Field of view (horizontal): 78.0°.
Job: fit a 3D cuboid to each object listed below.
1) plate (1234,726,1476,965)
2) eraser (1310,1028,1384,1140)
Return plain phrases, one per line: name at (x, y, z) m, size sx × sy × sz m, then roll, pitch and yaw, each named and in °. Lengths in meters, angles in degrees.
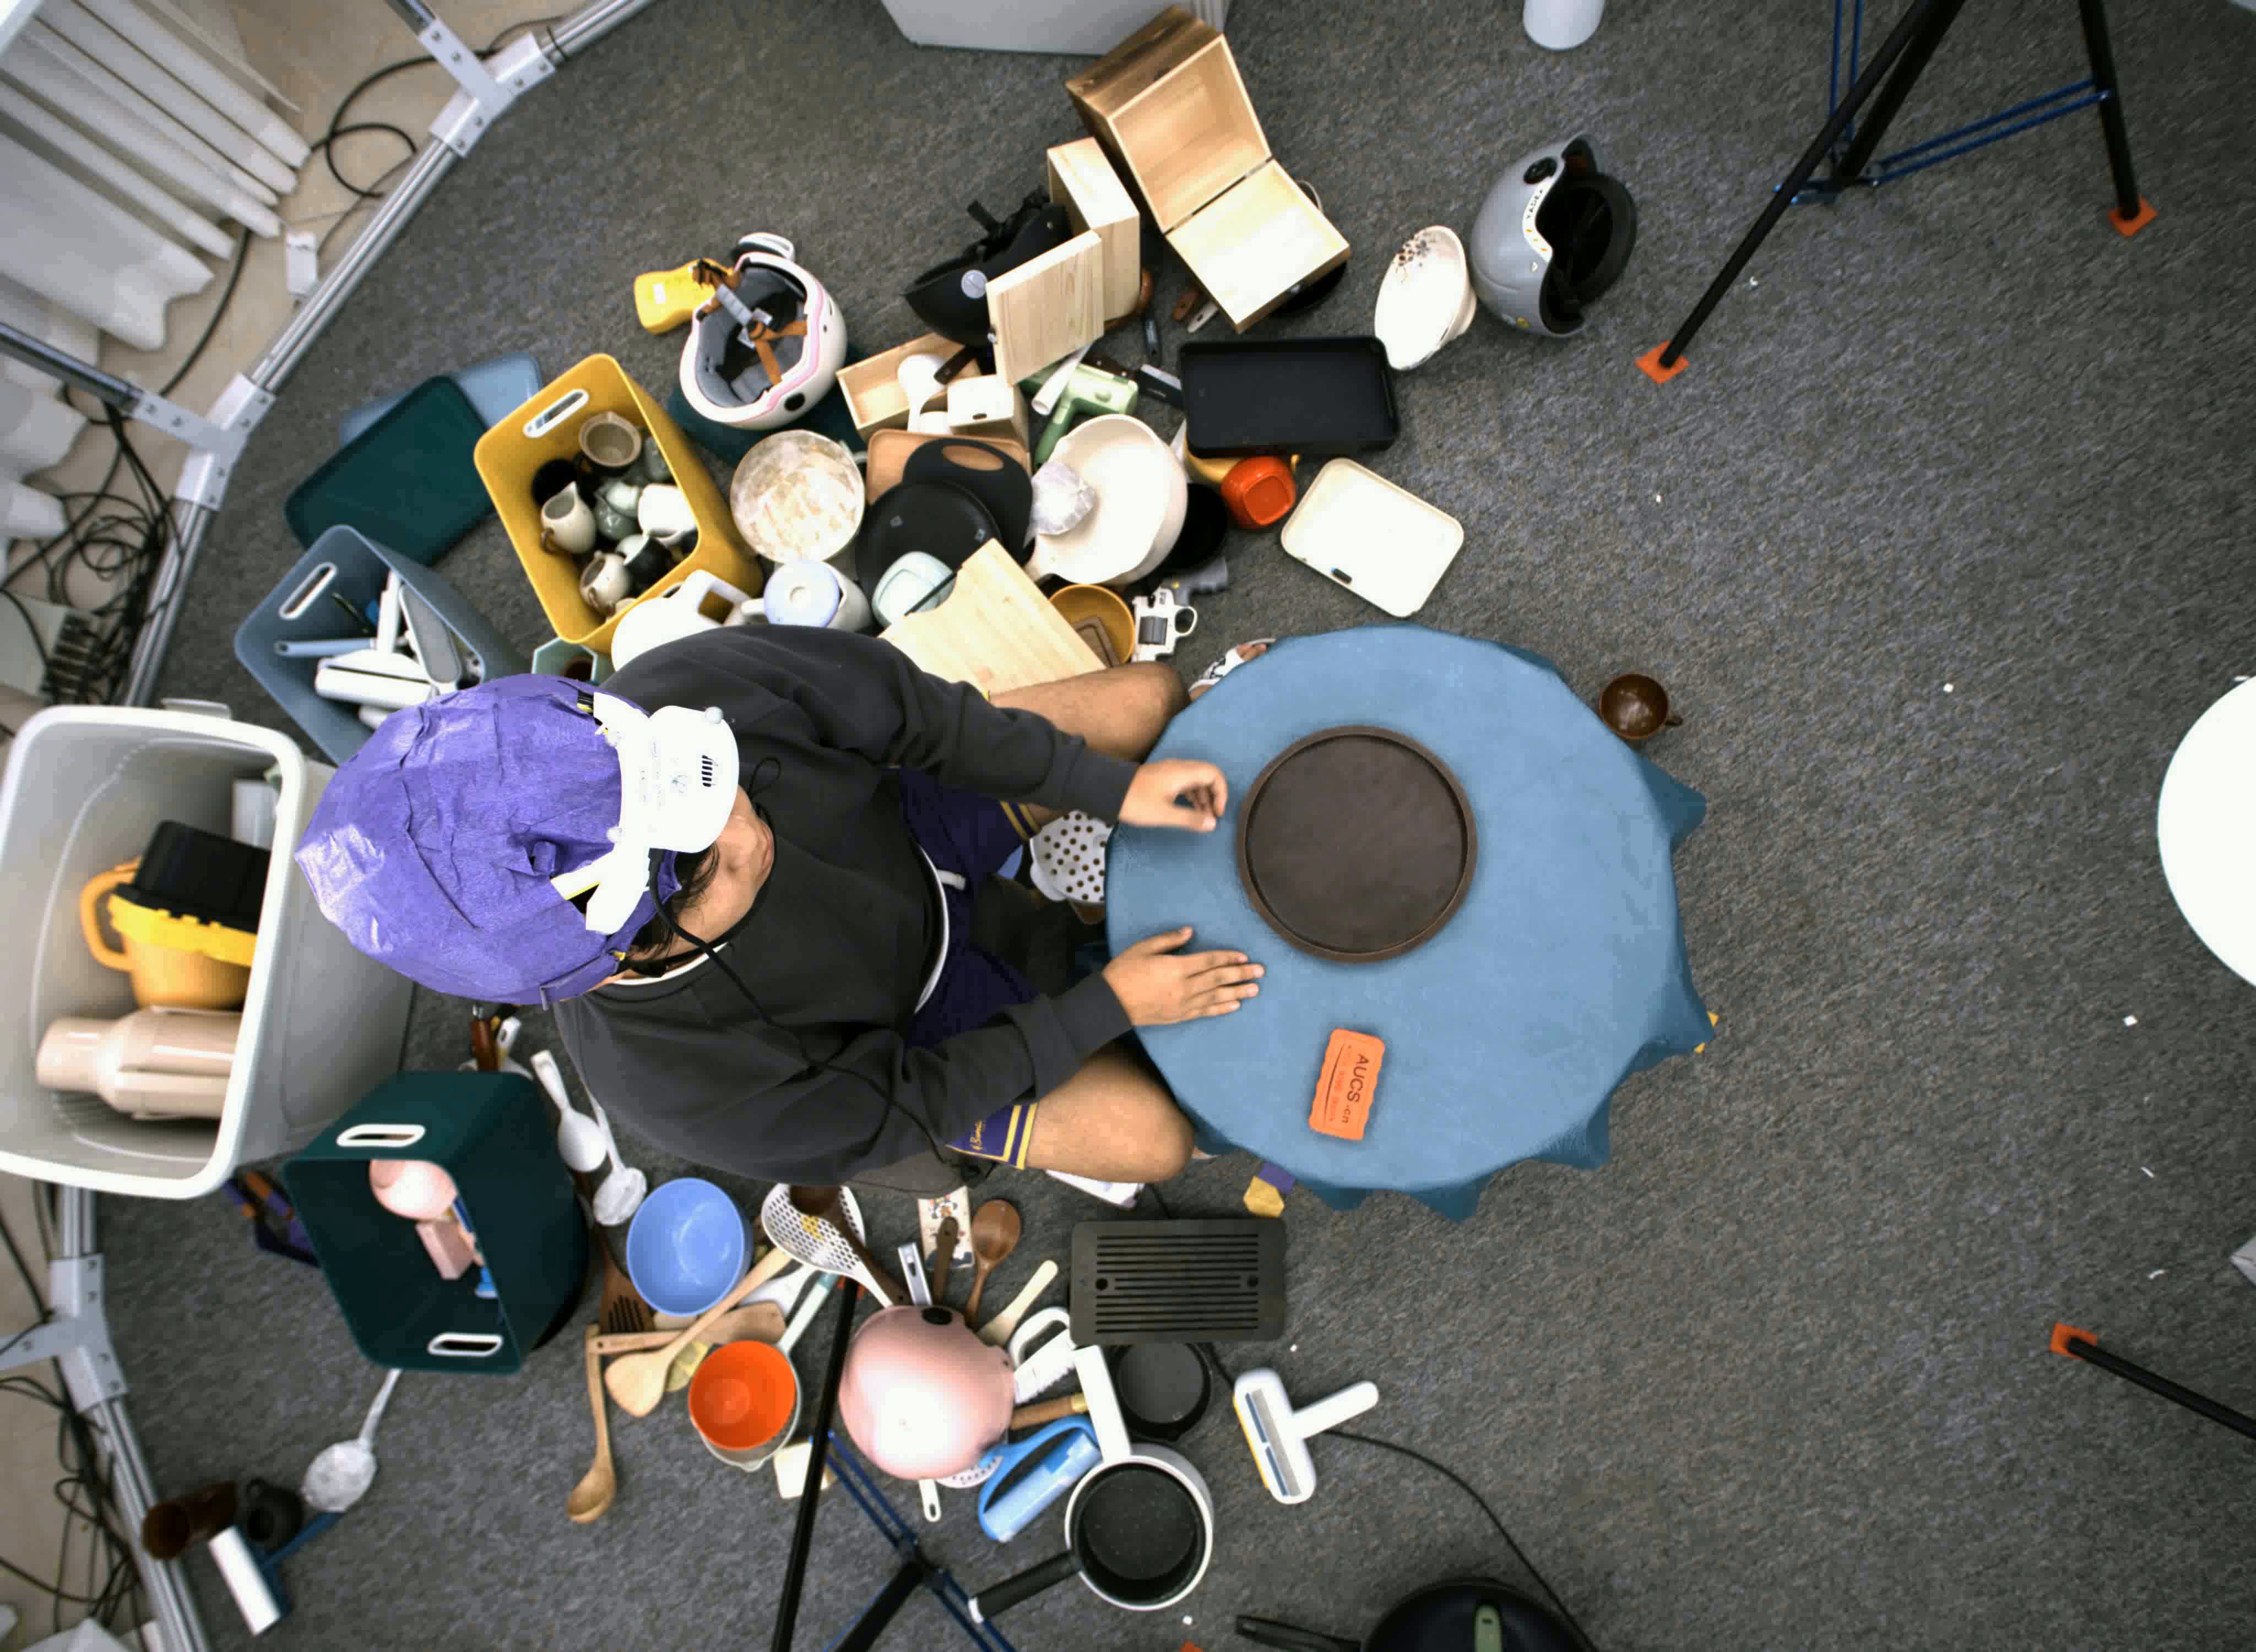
plate at (0.238, 0.018, 1.457) m, size 0.256 × 0.029 × 0.254 m, roll -1°, pitch 88°, yaw 10°
eraser at (0.228, 0.267, 1.441) m, size 0.059 × 0.023 × 0.108 m, roll 14°, pitch 91°, yaw 11°
